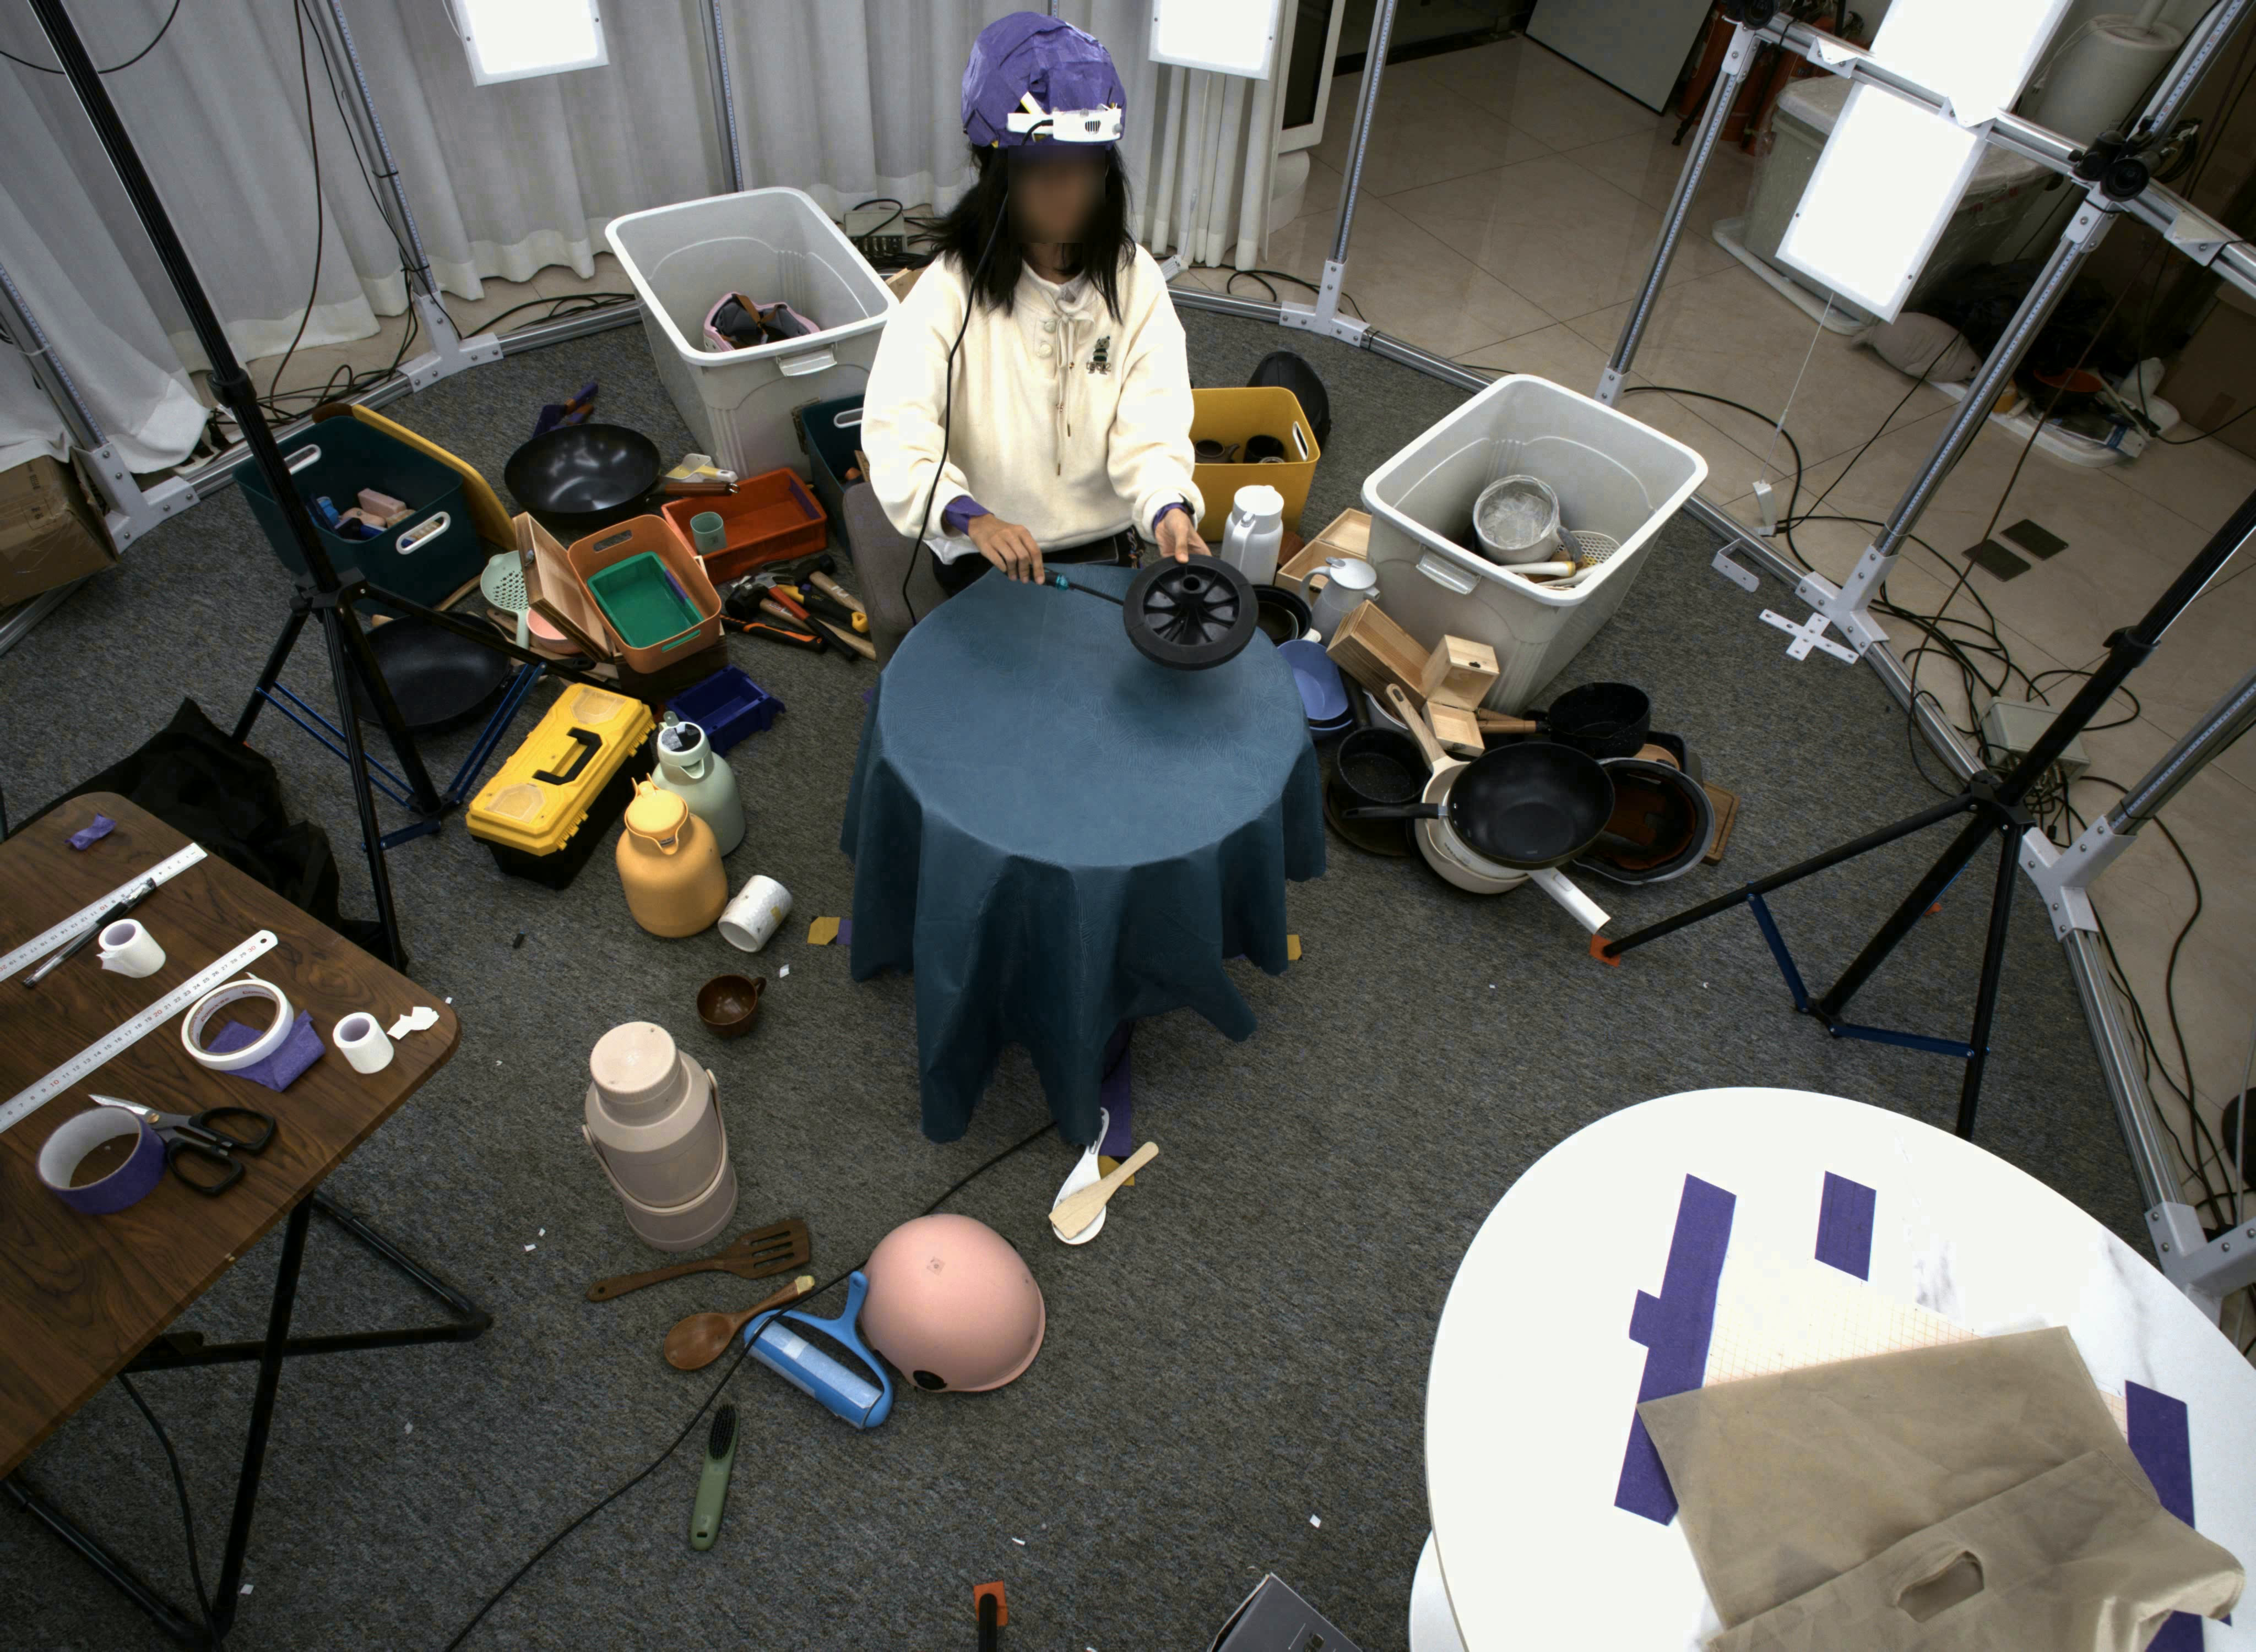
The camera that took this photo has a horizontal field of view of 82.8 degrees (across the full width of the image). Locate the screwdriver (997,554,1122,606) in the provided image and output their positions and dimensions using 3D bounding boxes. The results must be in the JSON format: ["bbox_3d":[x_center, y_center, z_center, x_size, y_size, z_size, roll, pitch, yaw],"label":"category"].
[{"bbox_3d":[-0.096,-0.344,1.823,0.191,0.033,0.034,21,51,12],"label":"screwdriver"}]

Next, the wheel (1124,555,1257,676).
[{"bbox_3d":[0.086,-0.305,1.775,0.188,0.077,0.193,9,65,7],"label":"wheel"}]
